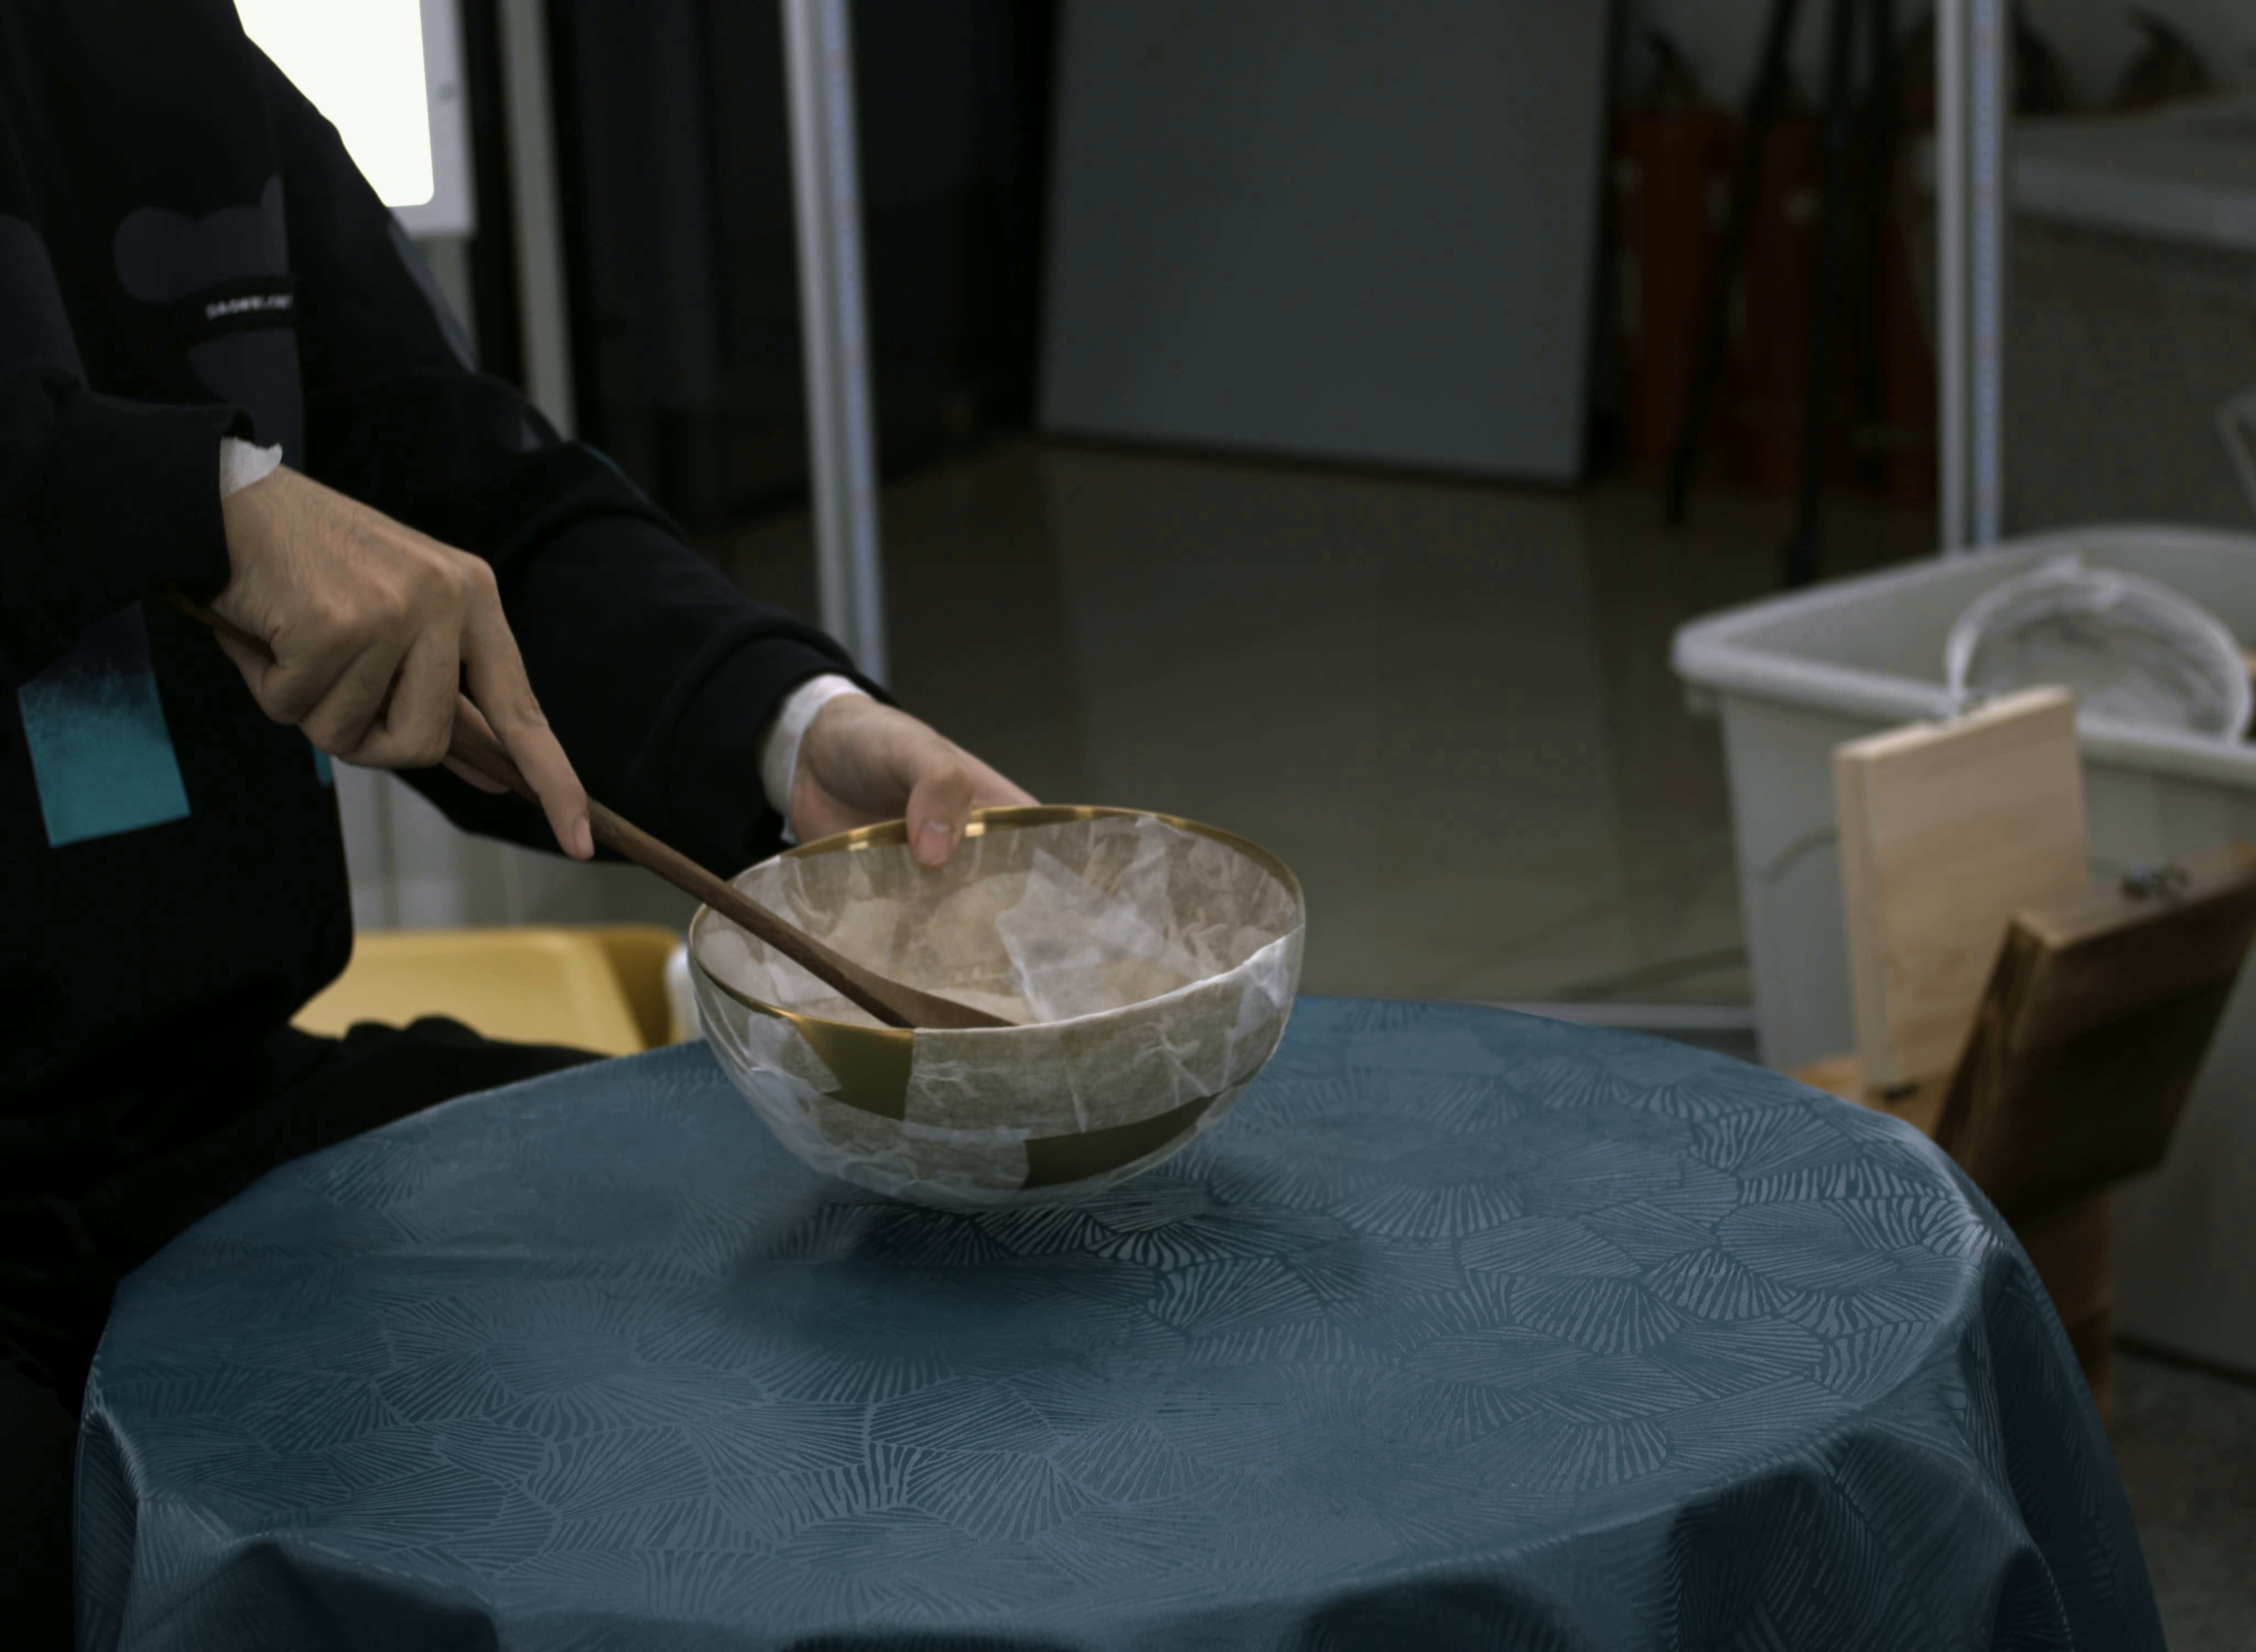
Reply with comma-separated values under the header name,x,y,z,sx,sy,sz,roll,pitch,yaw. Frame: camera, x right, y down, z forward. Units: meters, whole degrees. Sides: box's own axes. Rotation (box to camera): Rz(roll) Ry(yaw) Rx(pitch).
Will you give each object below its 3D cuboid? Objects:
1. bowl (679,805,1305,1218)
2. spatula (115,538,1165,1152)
name,x,y,z,sx,sy,sz,roll,pitch,yaw
bowl,-0.040,0.068,1.745,0.212,0.095,0.215,-6,19,1
spatula,-0.152,0.007,1.725,0.382,0.016,0.096,31,8,-6
